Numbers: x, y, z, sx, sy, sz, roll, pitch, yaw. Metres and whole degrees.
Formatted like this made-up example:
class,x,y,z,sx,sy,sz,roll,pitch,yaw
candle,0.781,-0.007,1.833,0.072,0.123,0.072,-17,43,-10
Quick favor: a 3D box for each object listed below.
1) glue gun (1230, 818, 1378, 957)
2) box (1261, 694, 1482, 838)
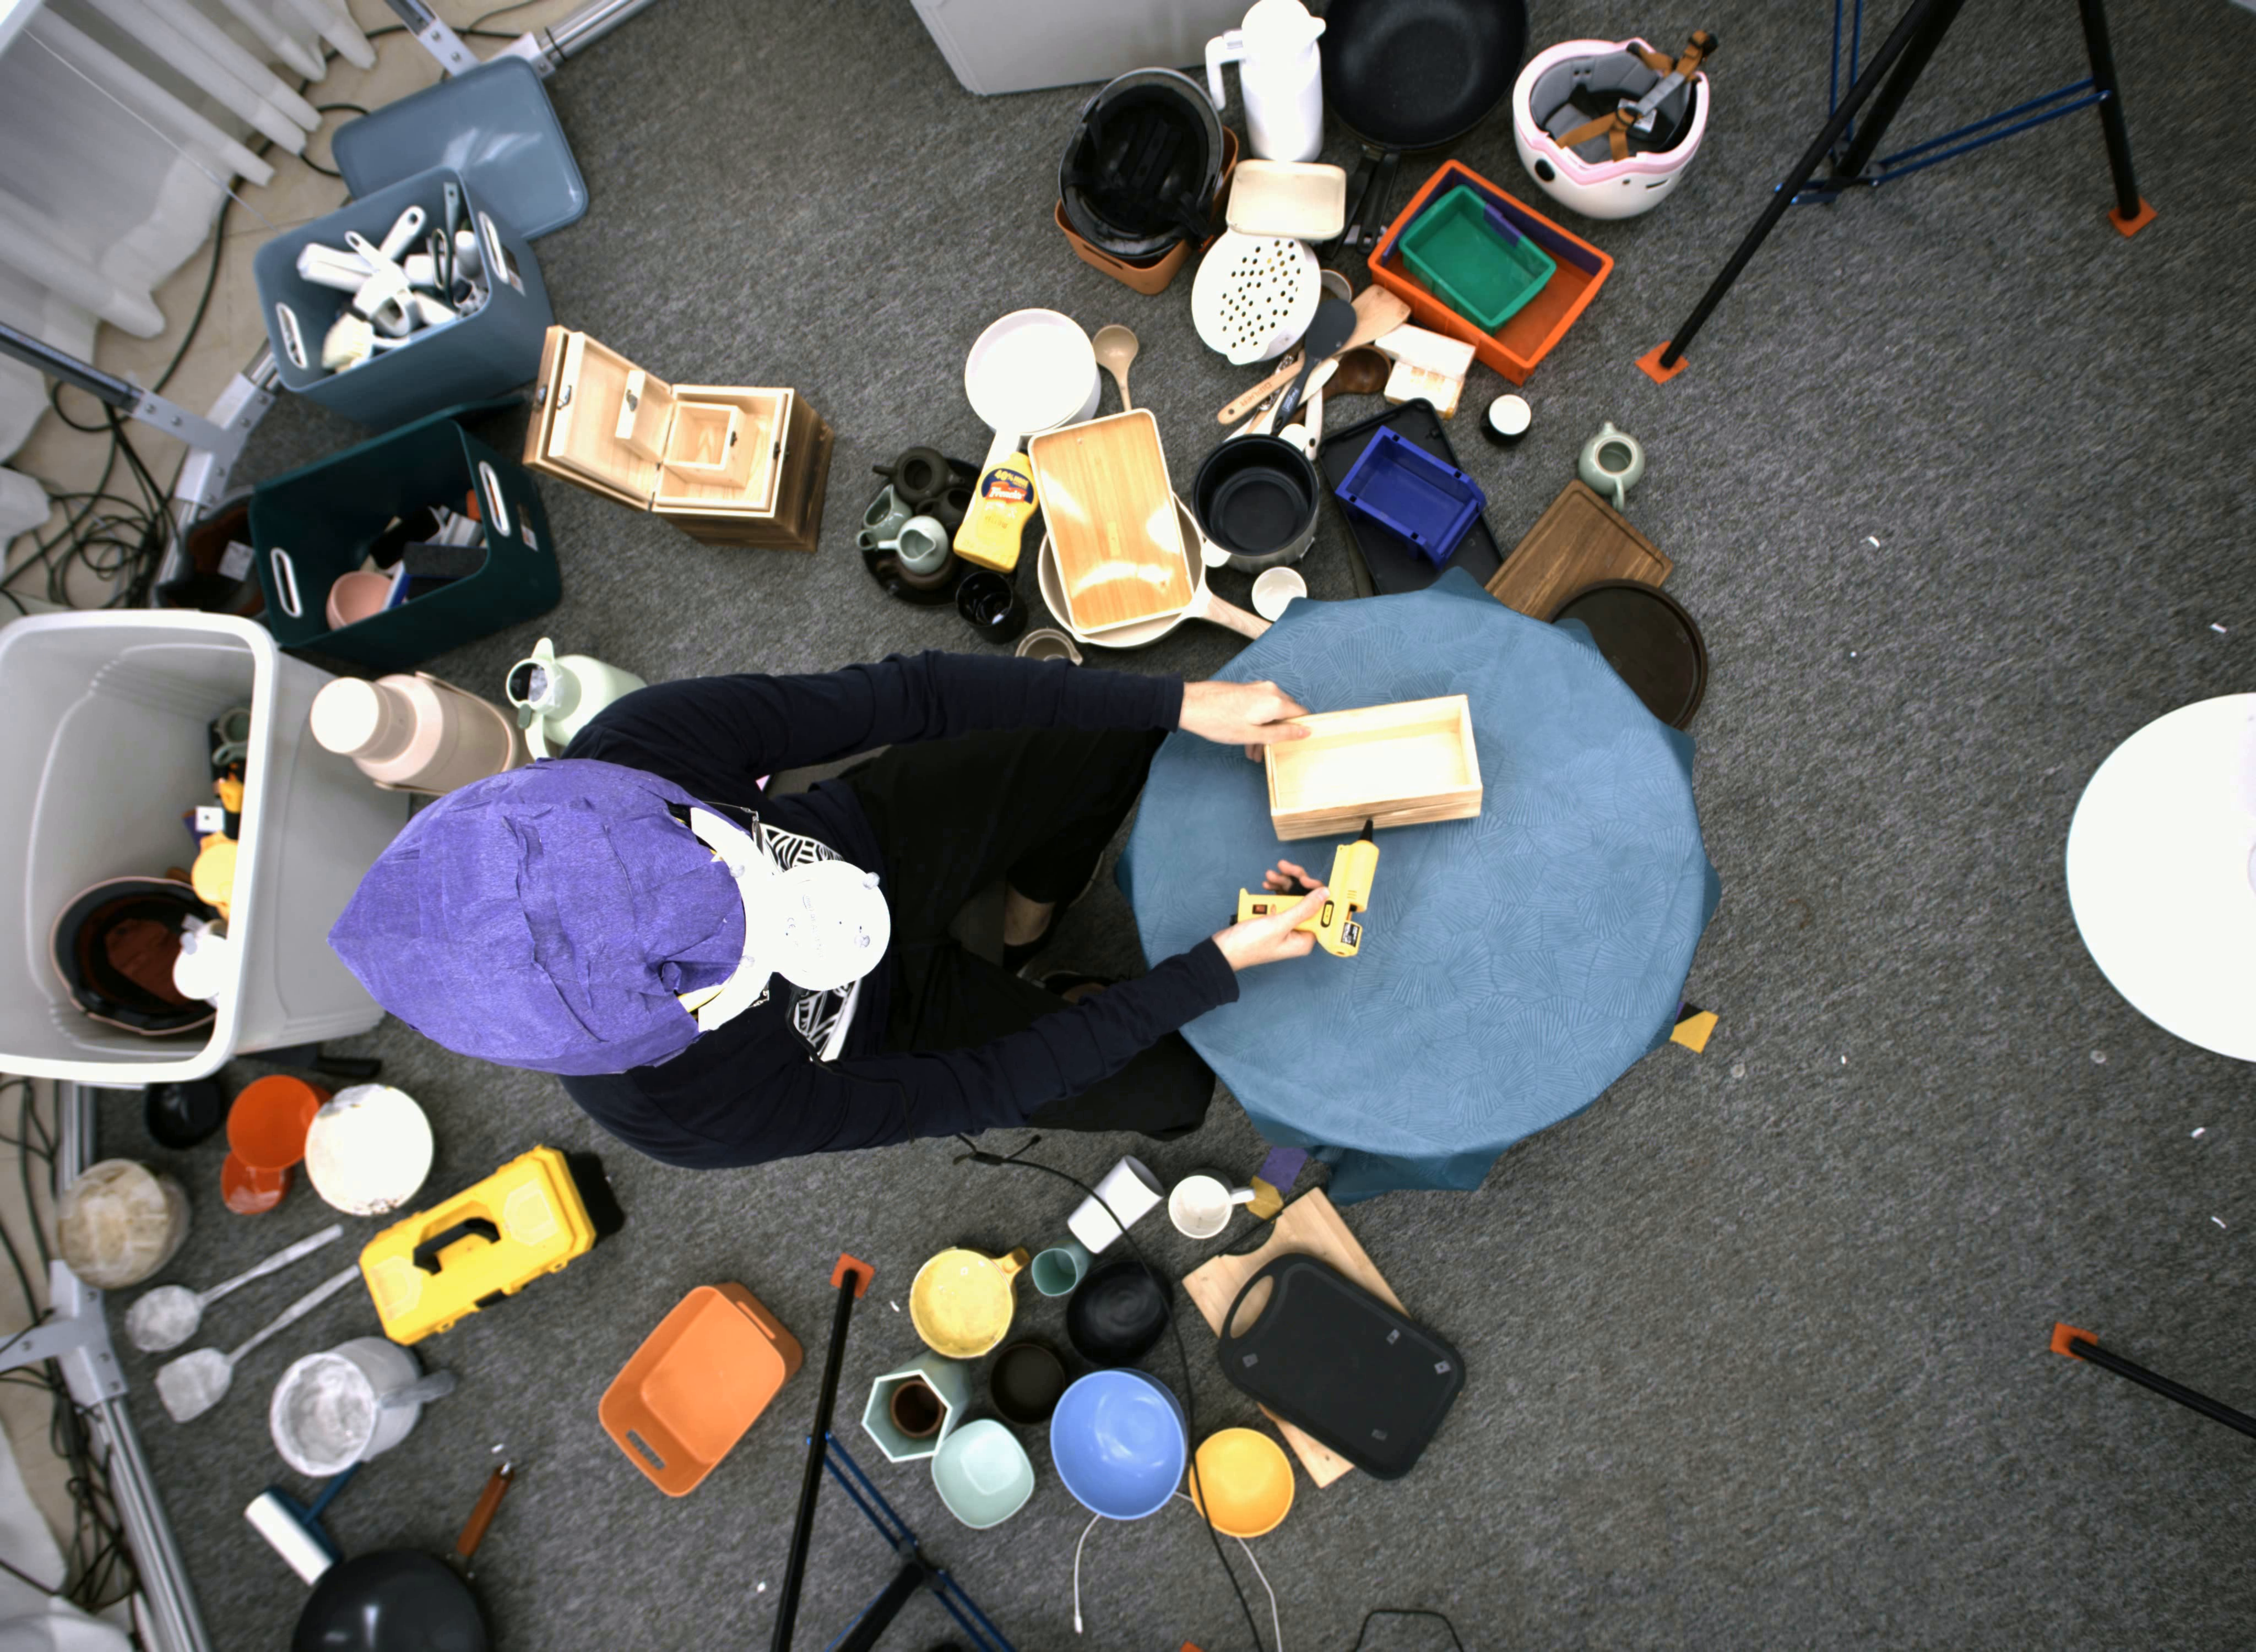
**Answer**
class,x,y,z,sx,sy,sz,roll,pitch,yaw
glue gun,0.186,0.049,1.396,0.133,0.031,0.149,12,70,25
box,0.249,-0.061,1.418,0.212,0.081,0.105,-7,69,9
